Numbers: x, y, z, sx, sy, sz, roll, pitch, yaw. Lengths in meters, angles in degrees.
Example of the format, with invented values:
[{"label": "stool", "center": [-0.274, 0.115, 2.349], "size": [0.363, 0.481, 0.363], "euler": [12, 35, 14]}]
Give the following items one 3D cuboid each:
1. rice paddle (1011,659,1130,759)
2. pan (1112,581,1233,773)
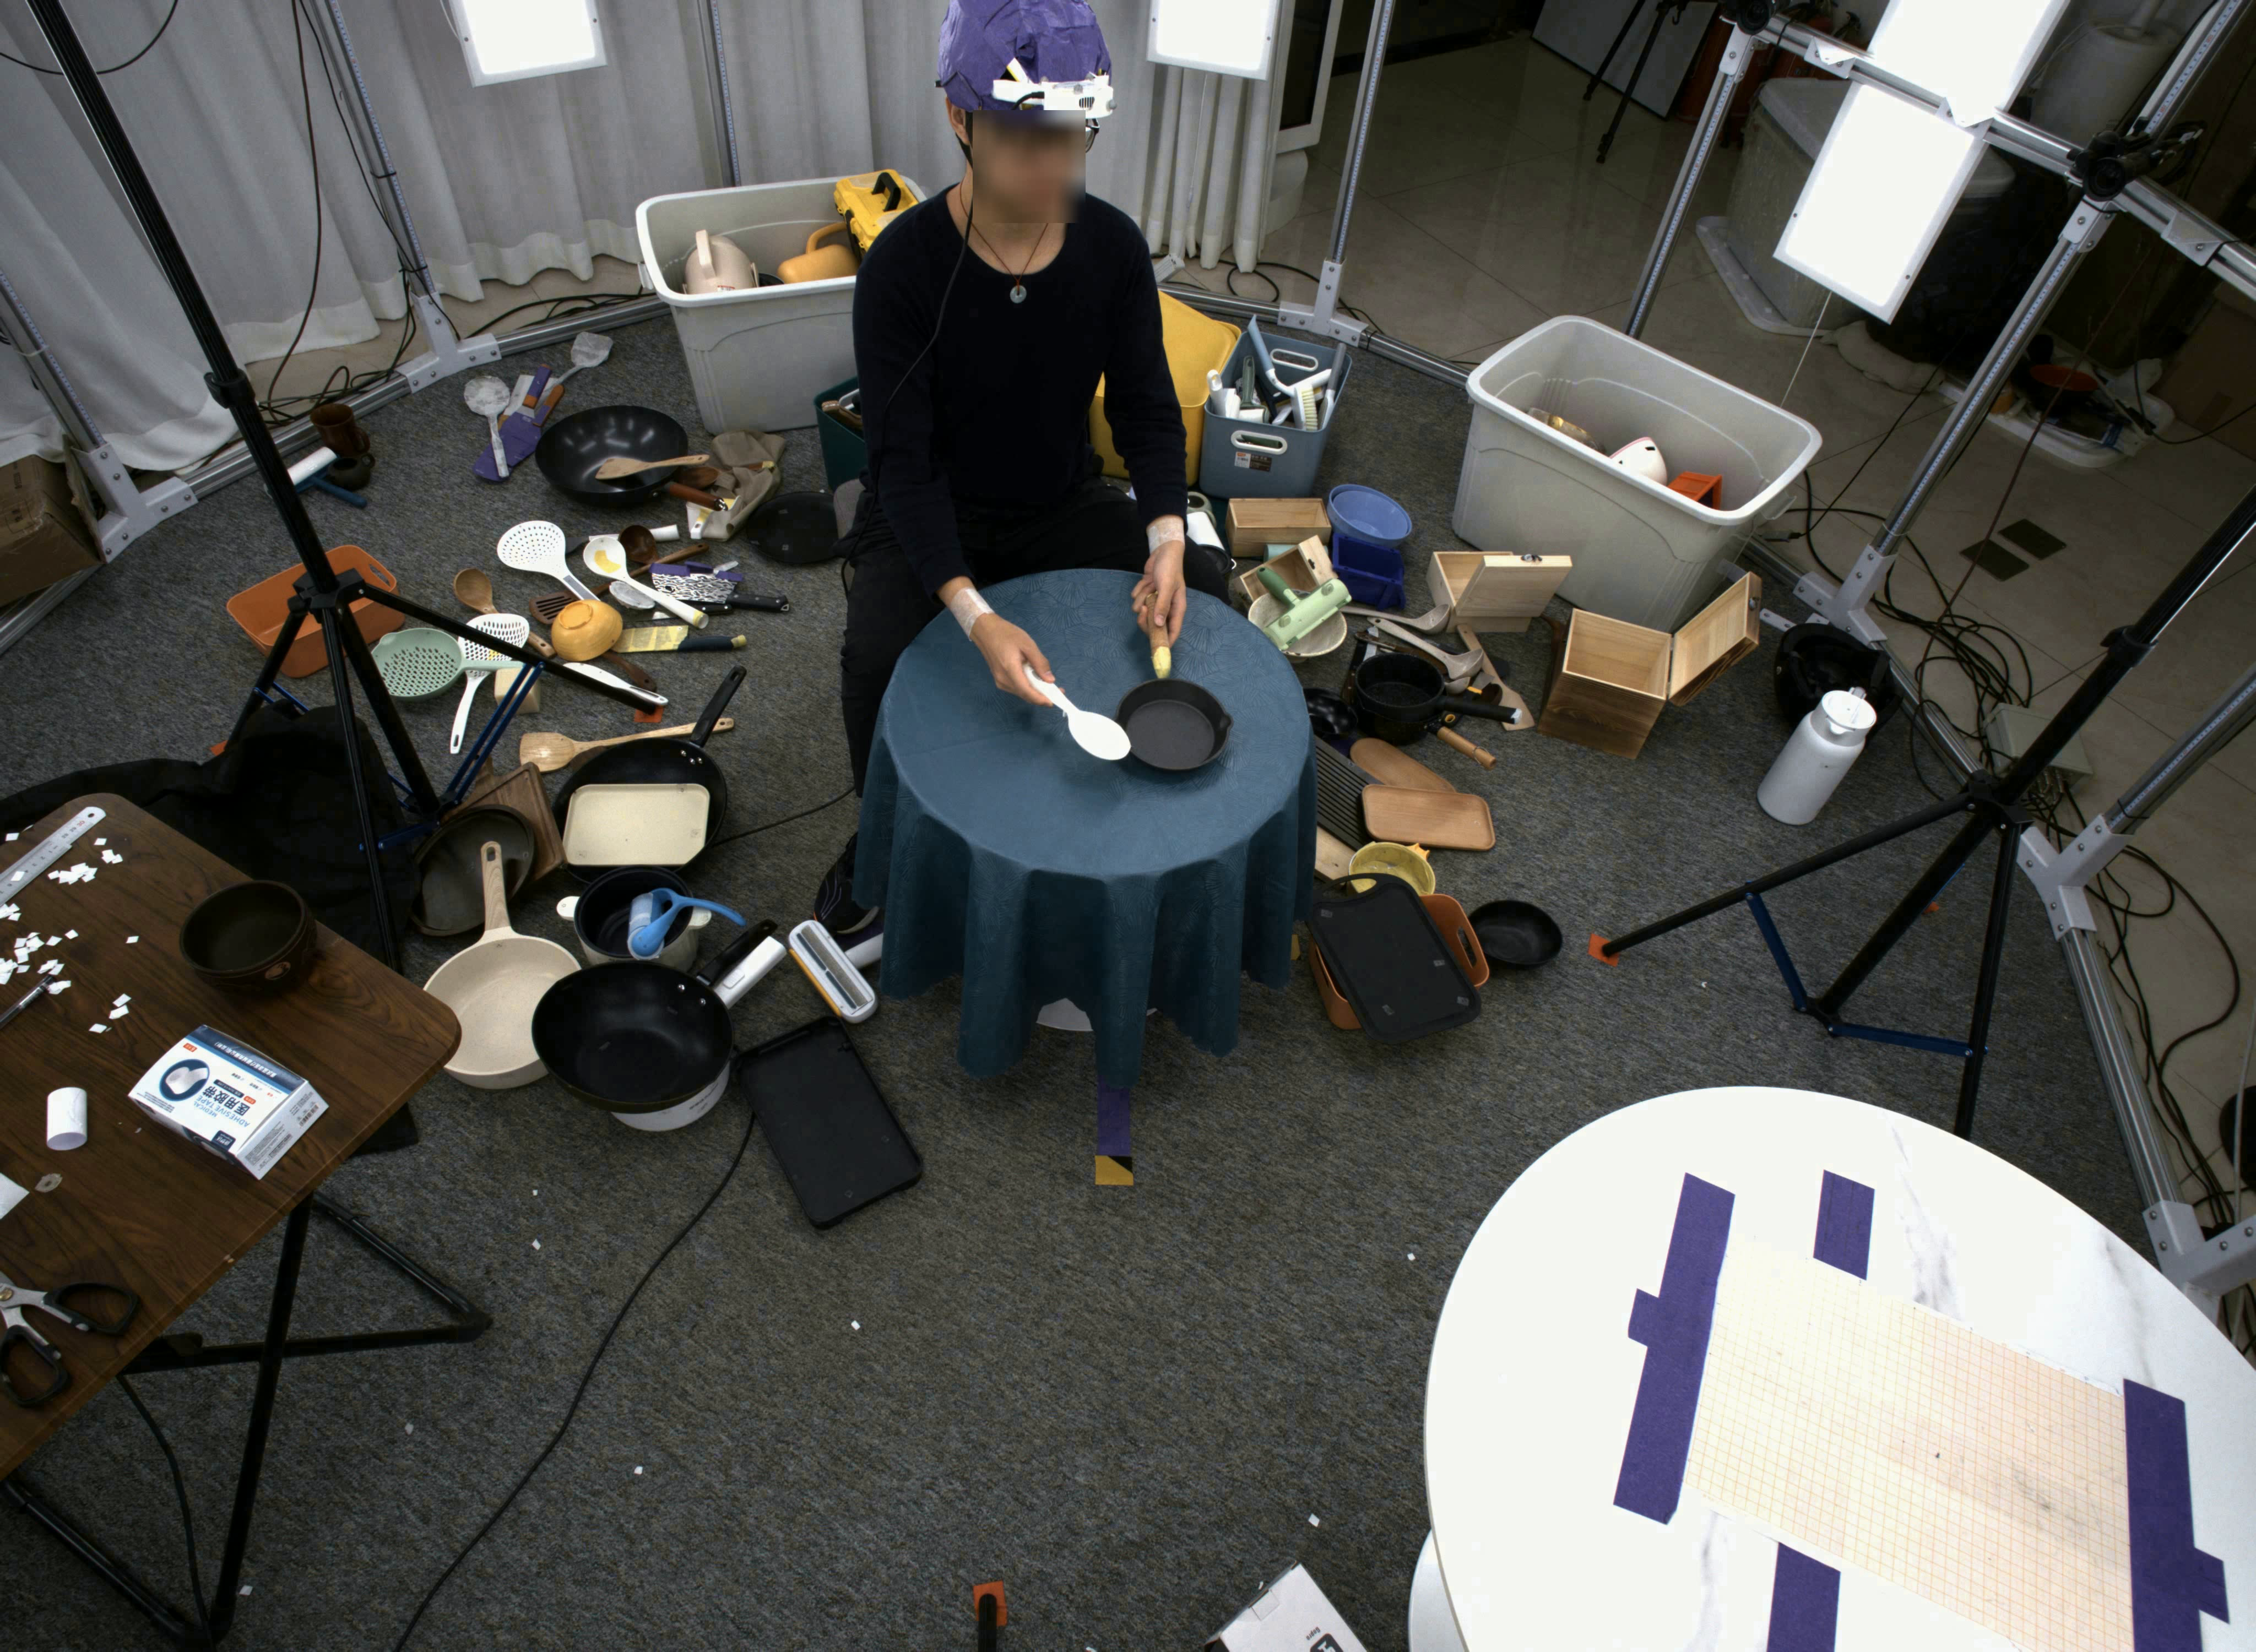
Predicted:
[{"label": "rice paddle", "center": [-0.077, -0.156, 1.719], "size": [0.069, 0.029, 0.208], "euler": [-35, 62, -29]}, {"label": "pan", "center": [0.053, -0.209, 1.802], "size": [0.168, 0.048, 0.332], "euler": [-1, 57, -7]}]
